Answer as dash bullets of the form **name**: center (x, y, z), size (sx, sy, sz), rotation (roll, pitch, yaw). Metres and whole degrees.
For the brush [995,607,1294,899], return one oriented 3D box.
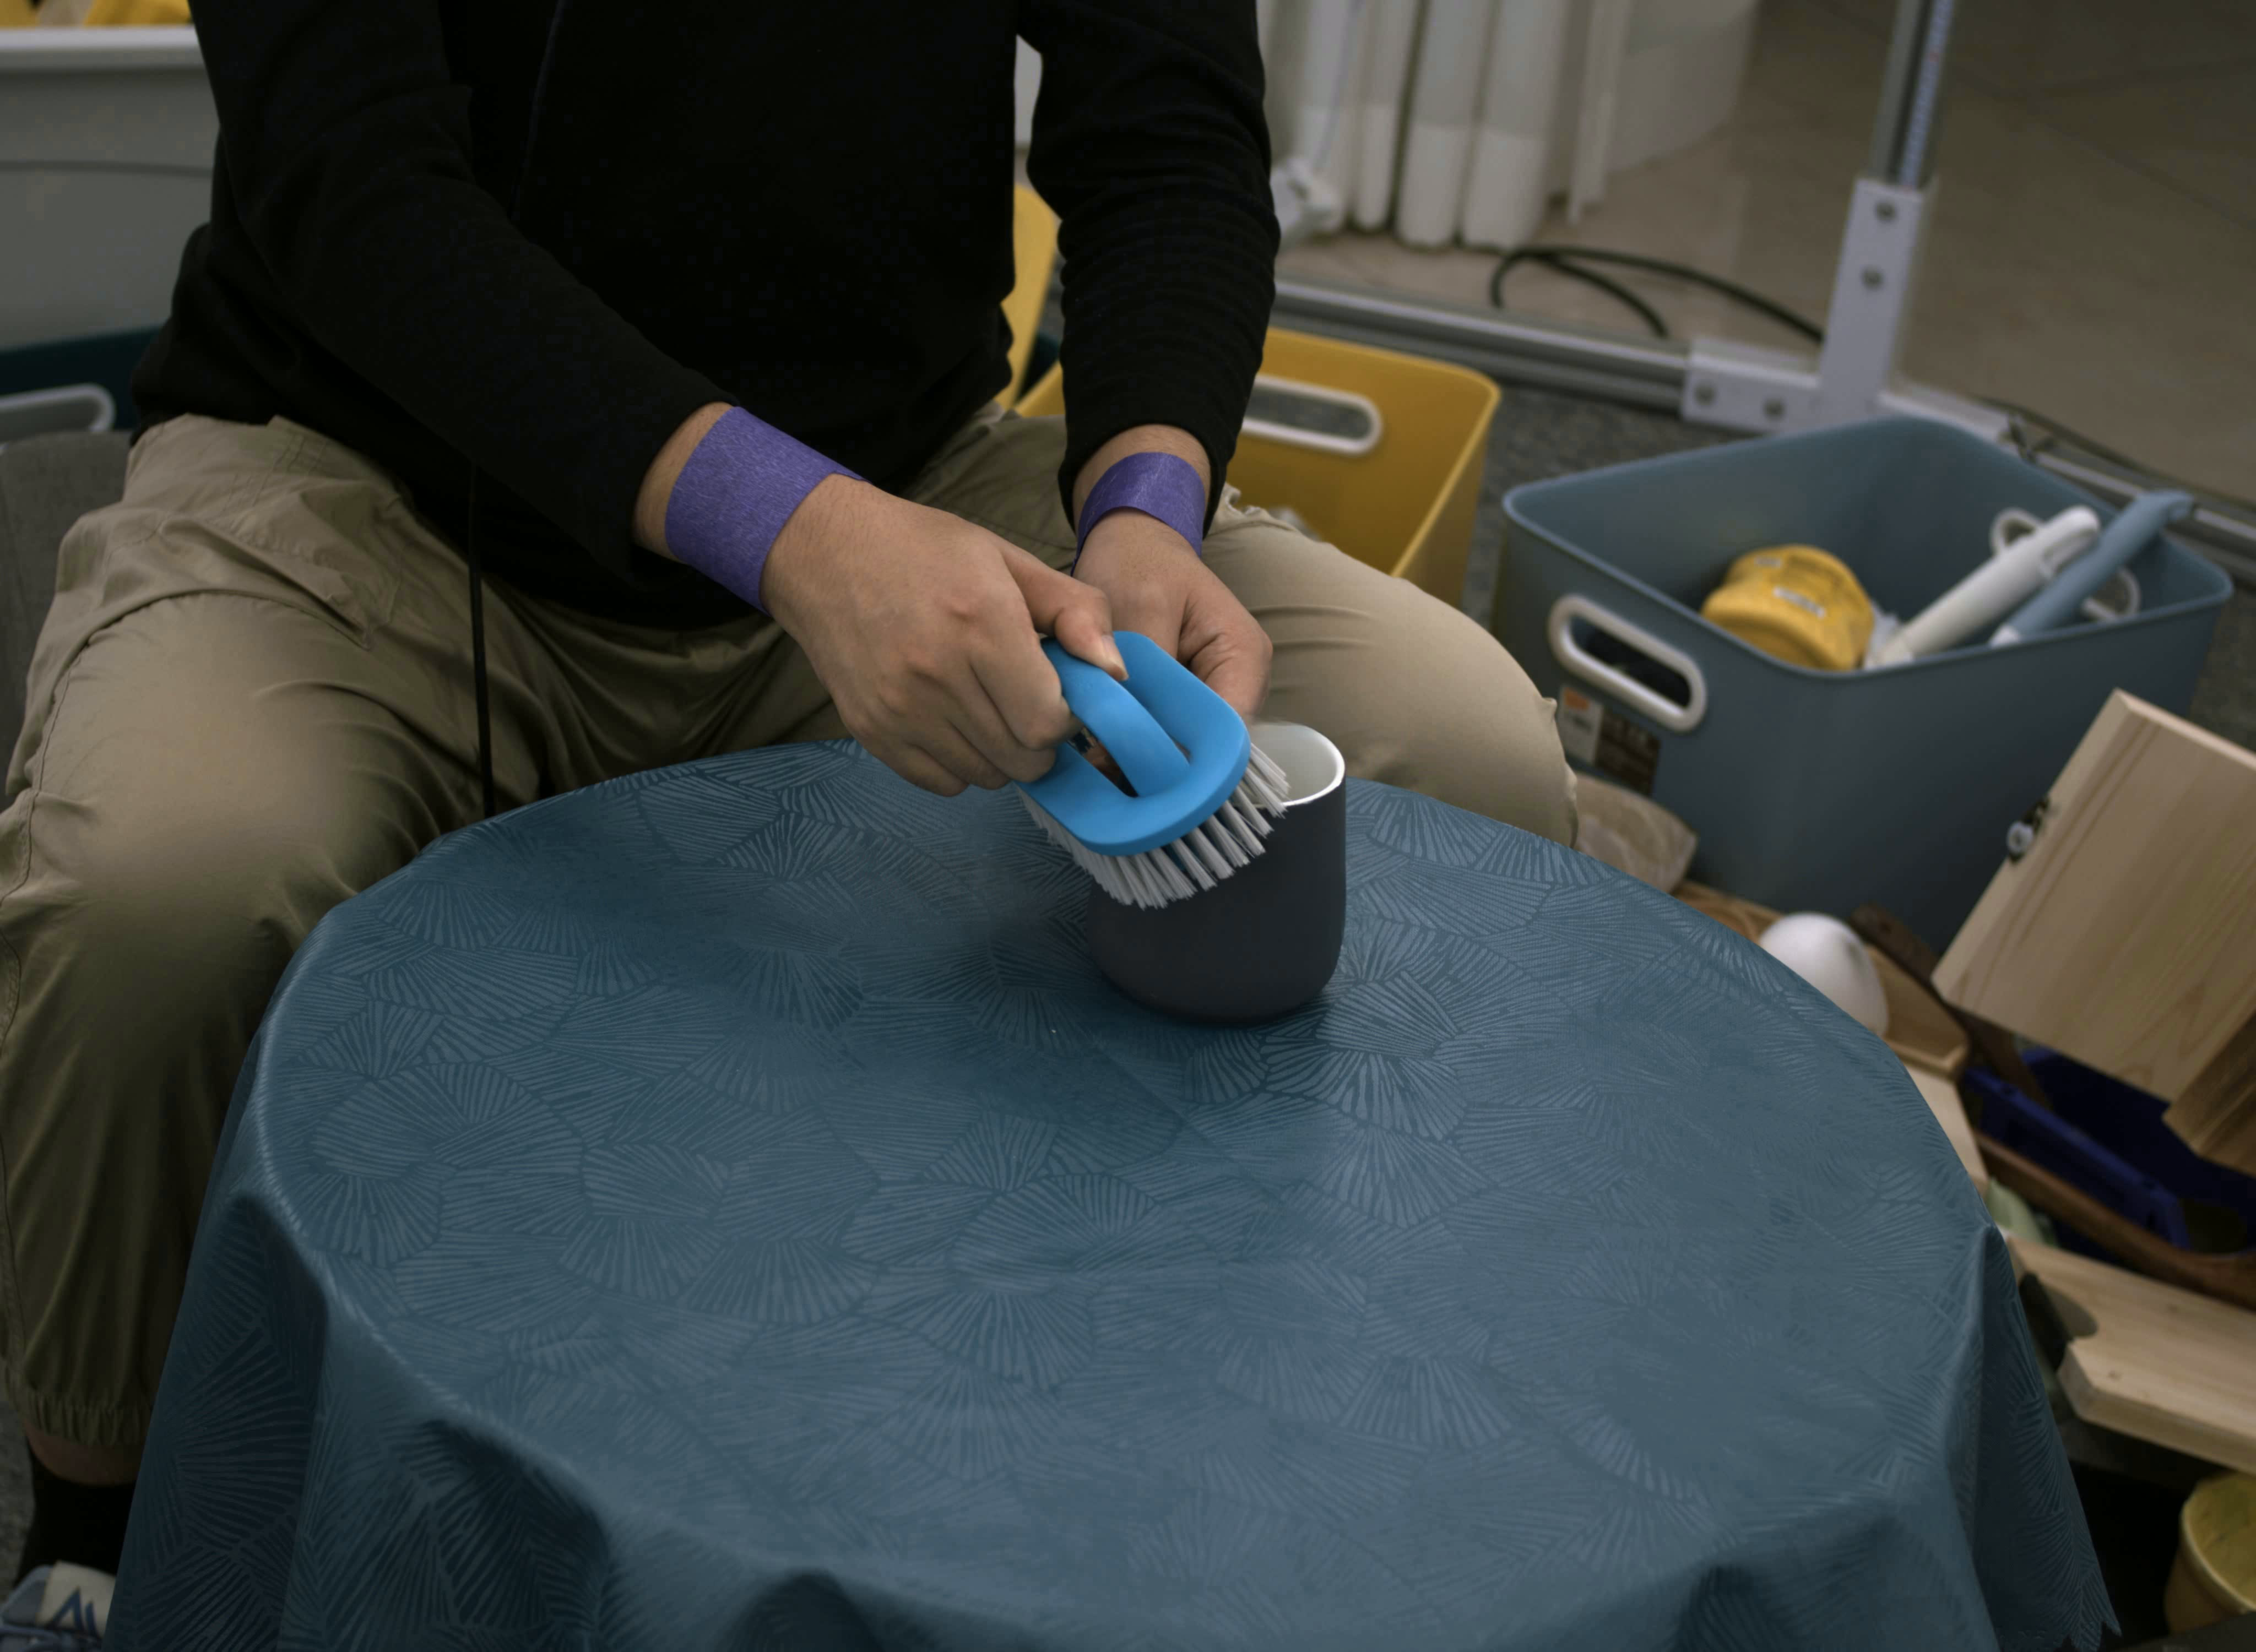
- **brush**: center (-0.004, -0.036, 1.898), size (0.084, 0.063, 0.143), rotation (-41, 34, -2)

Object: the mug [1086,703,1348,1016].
- **mug**: center (0.030, 0.005, 1.937), size (0.093, 0.089, 0.124), rotation (-2, 30, -19)
